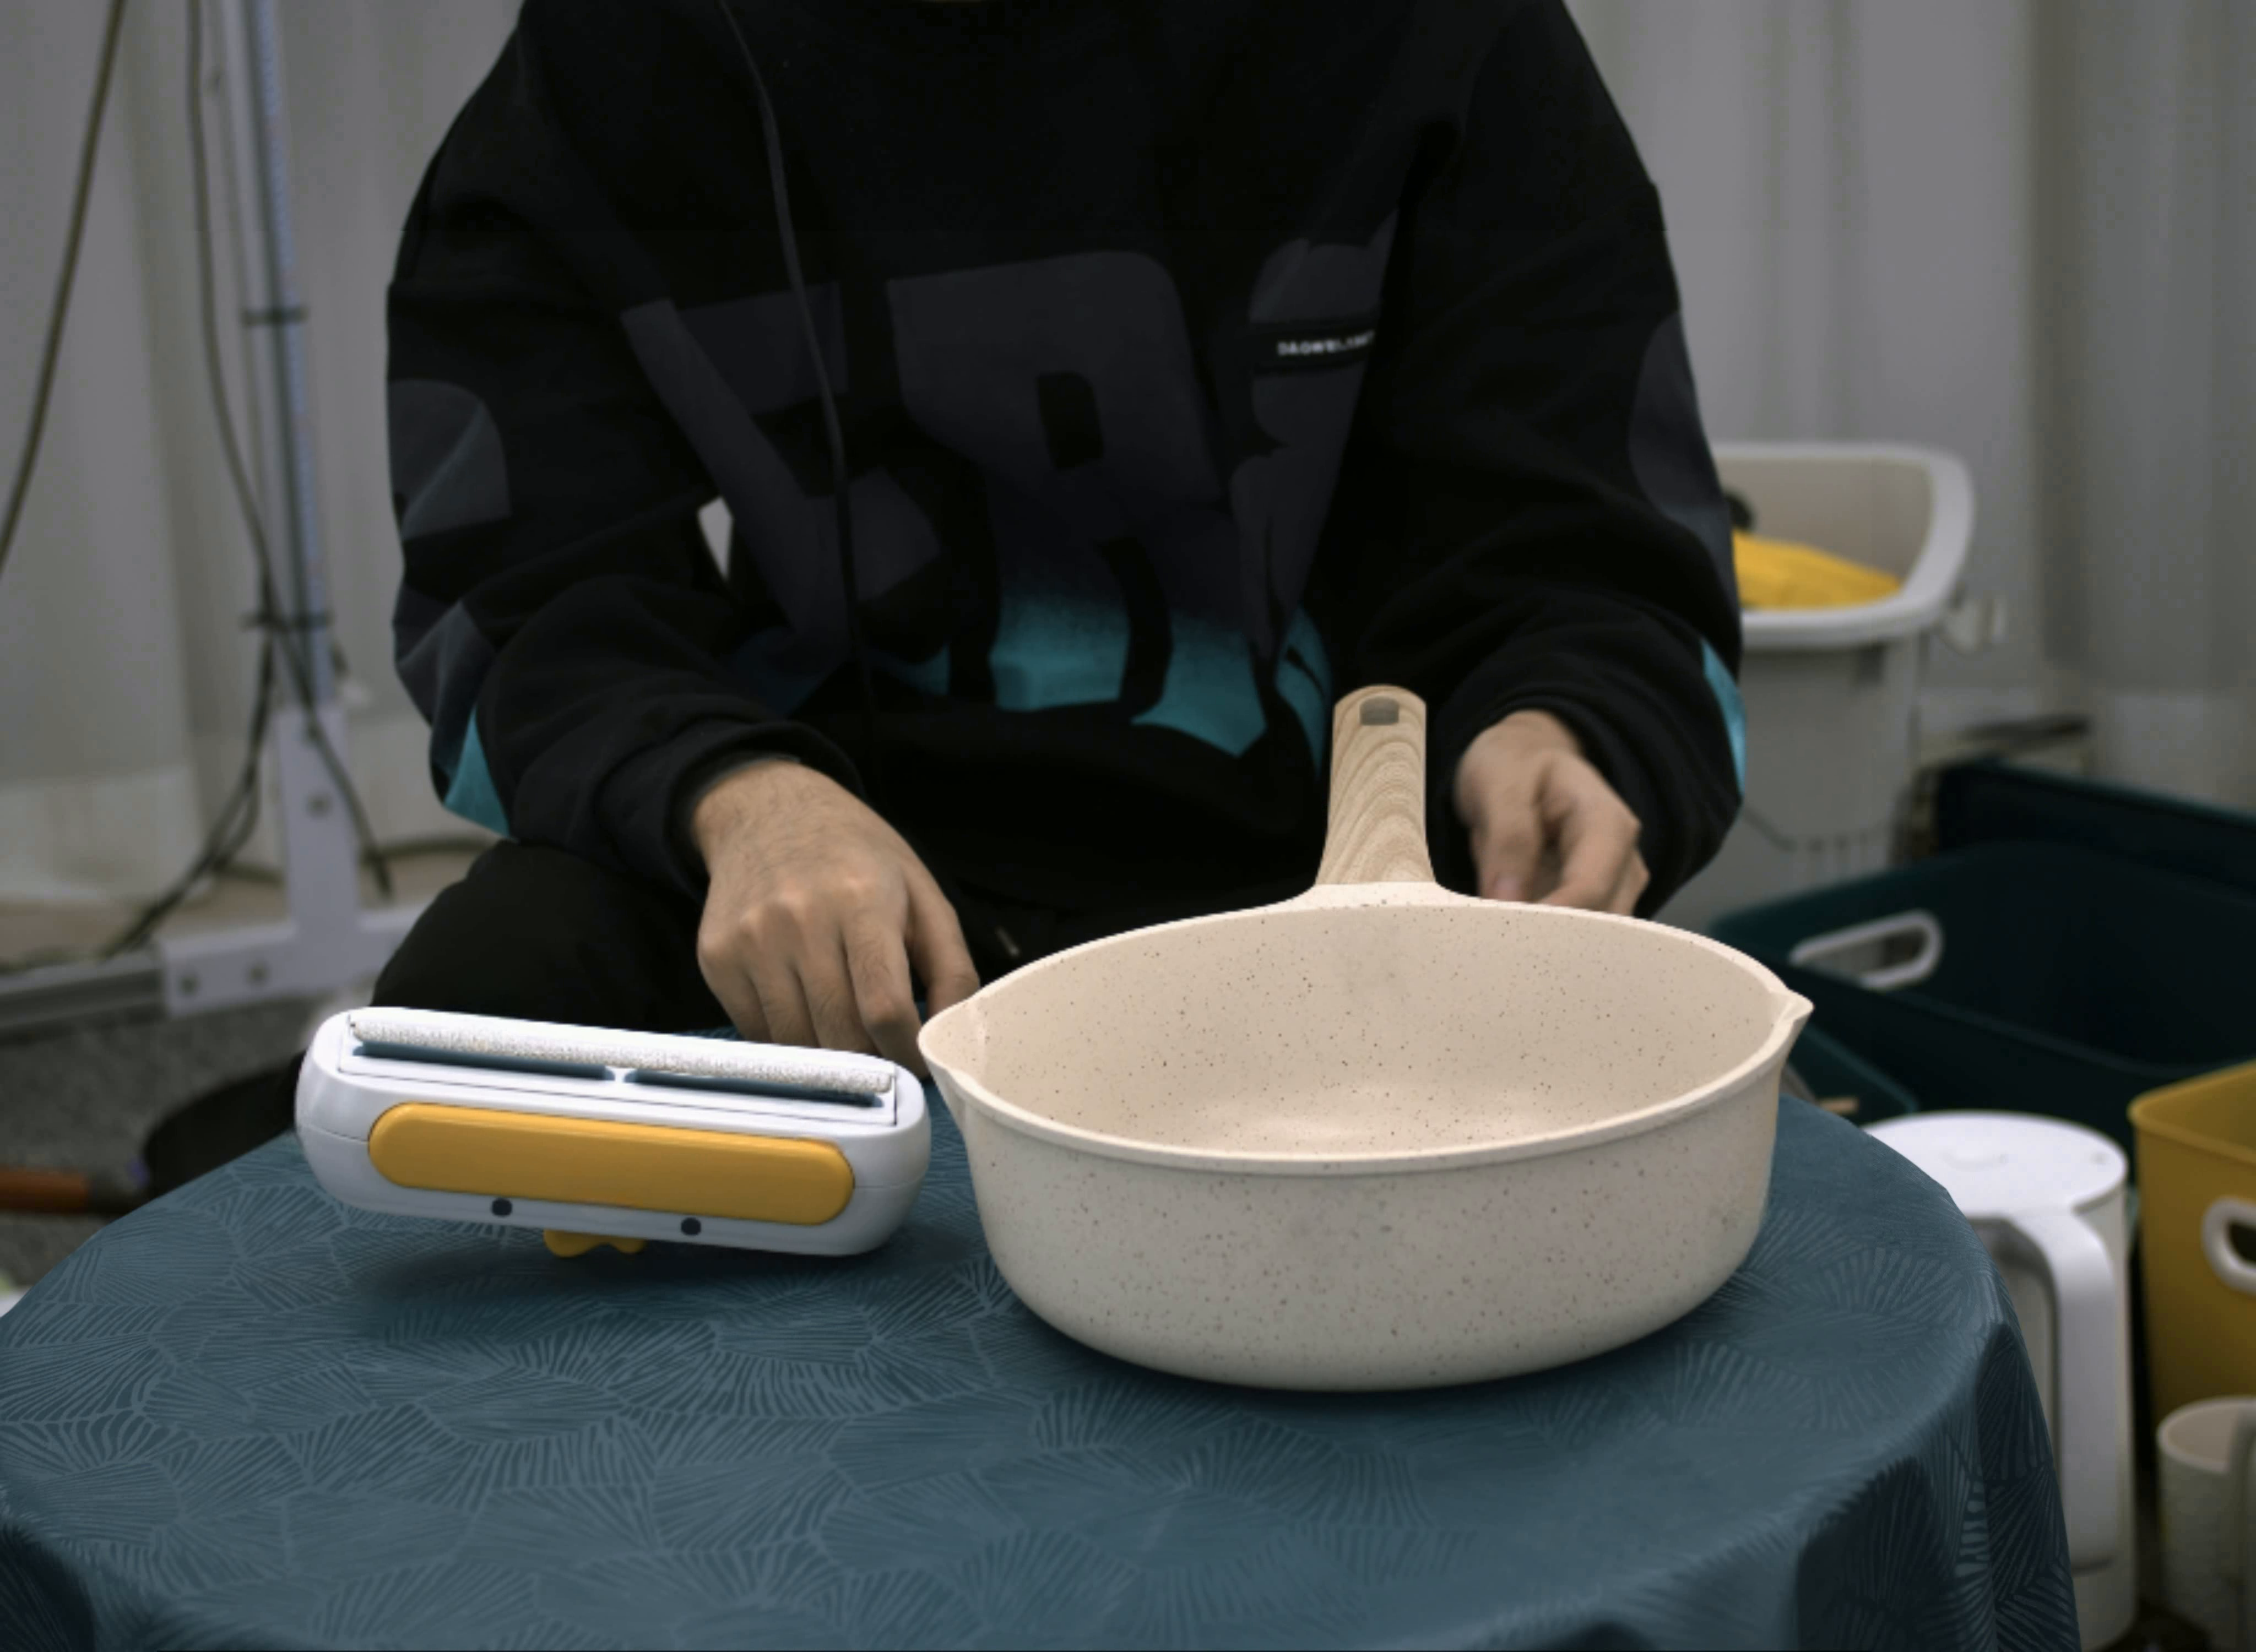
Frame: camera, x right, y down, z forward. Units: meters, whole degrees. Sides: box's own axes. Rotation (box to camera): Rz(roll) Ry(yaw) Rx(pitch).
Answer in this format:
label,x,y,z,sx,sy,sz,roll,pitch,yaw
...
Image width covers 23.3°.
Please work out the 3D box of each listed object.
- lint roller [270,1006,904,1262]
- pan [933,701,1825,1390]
label,x,y,z,sx,sy,sz,roll,pitch,yaw
lint roller,-0.165,0.087,1.724,0.192,0.074,0.193,2,13,-1
pan,0.080,0.063,1.700,0.262,0.101,0.438,-5,15,4
